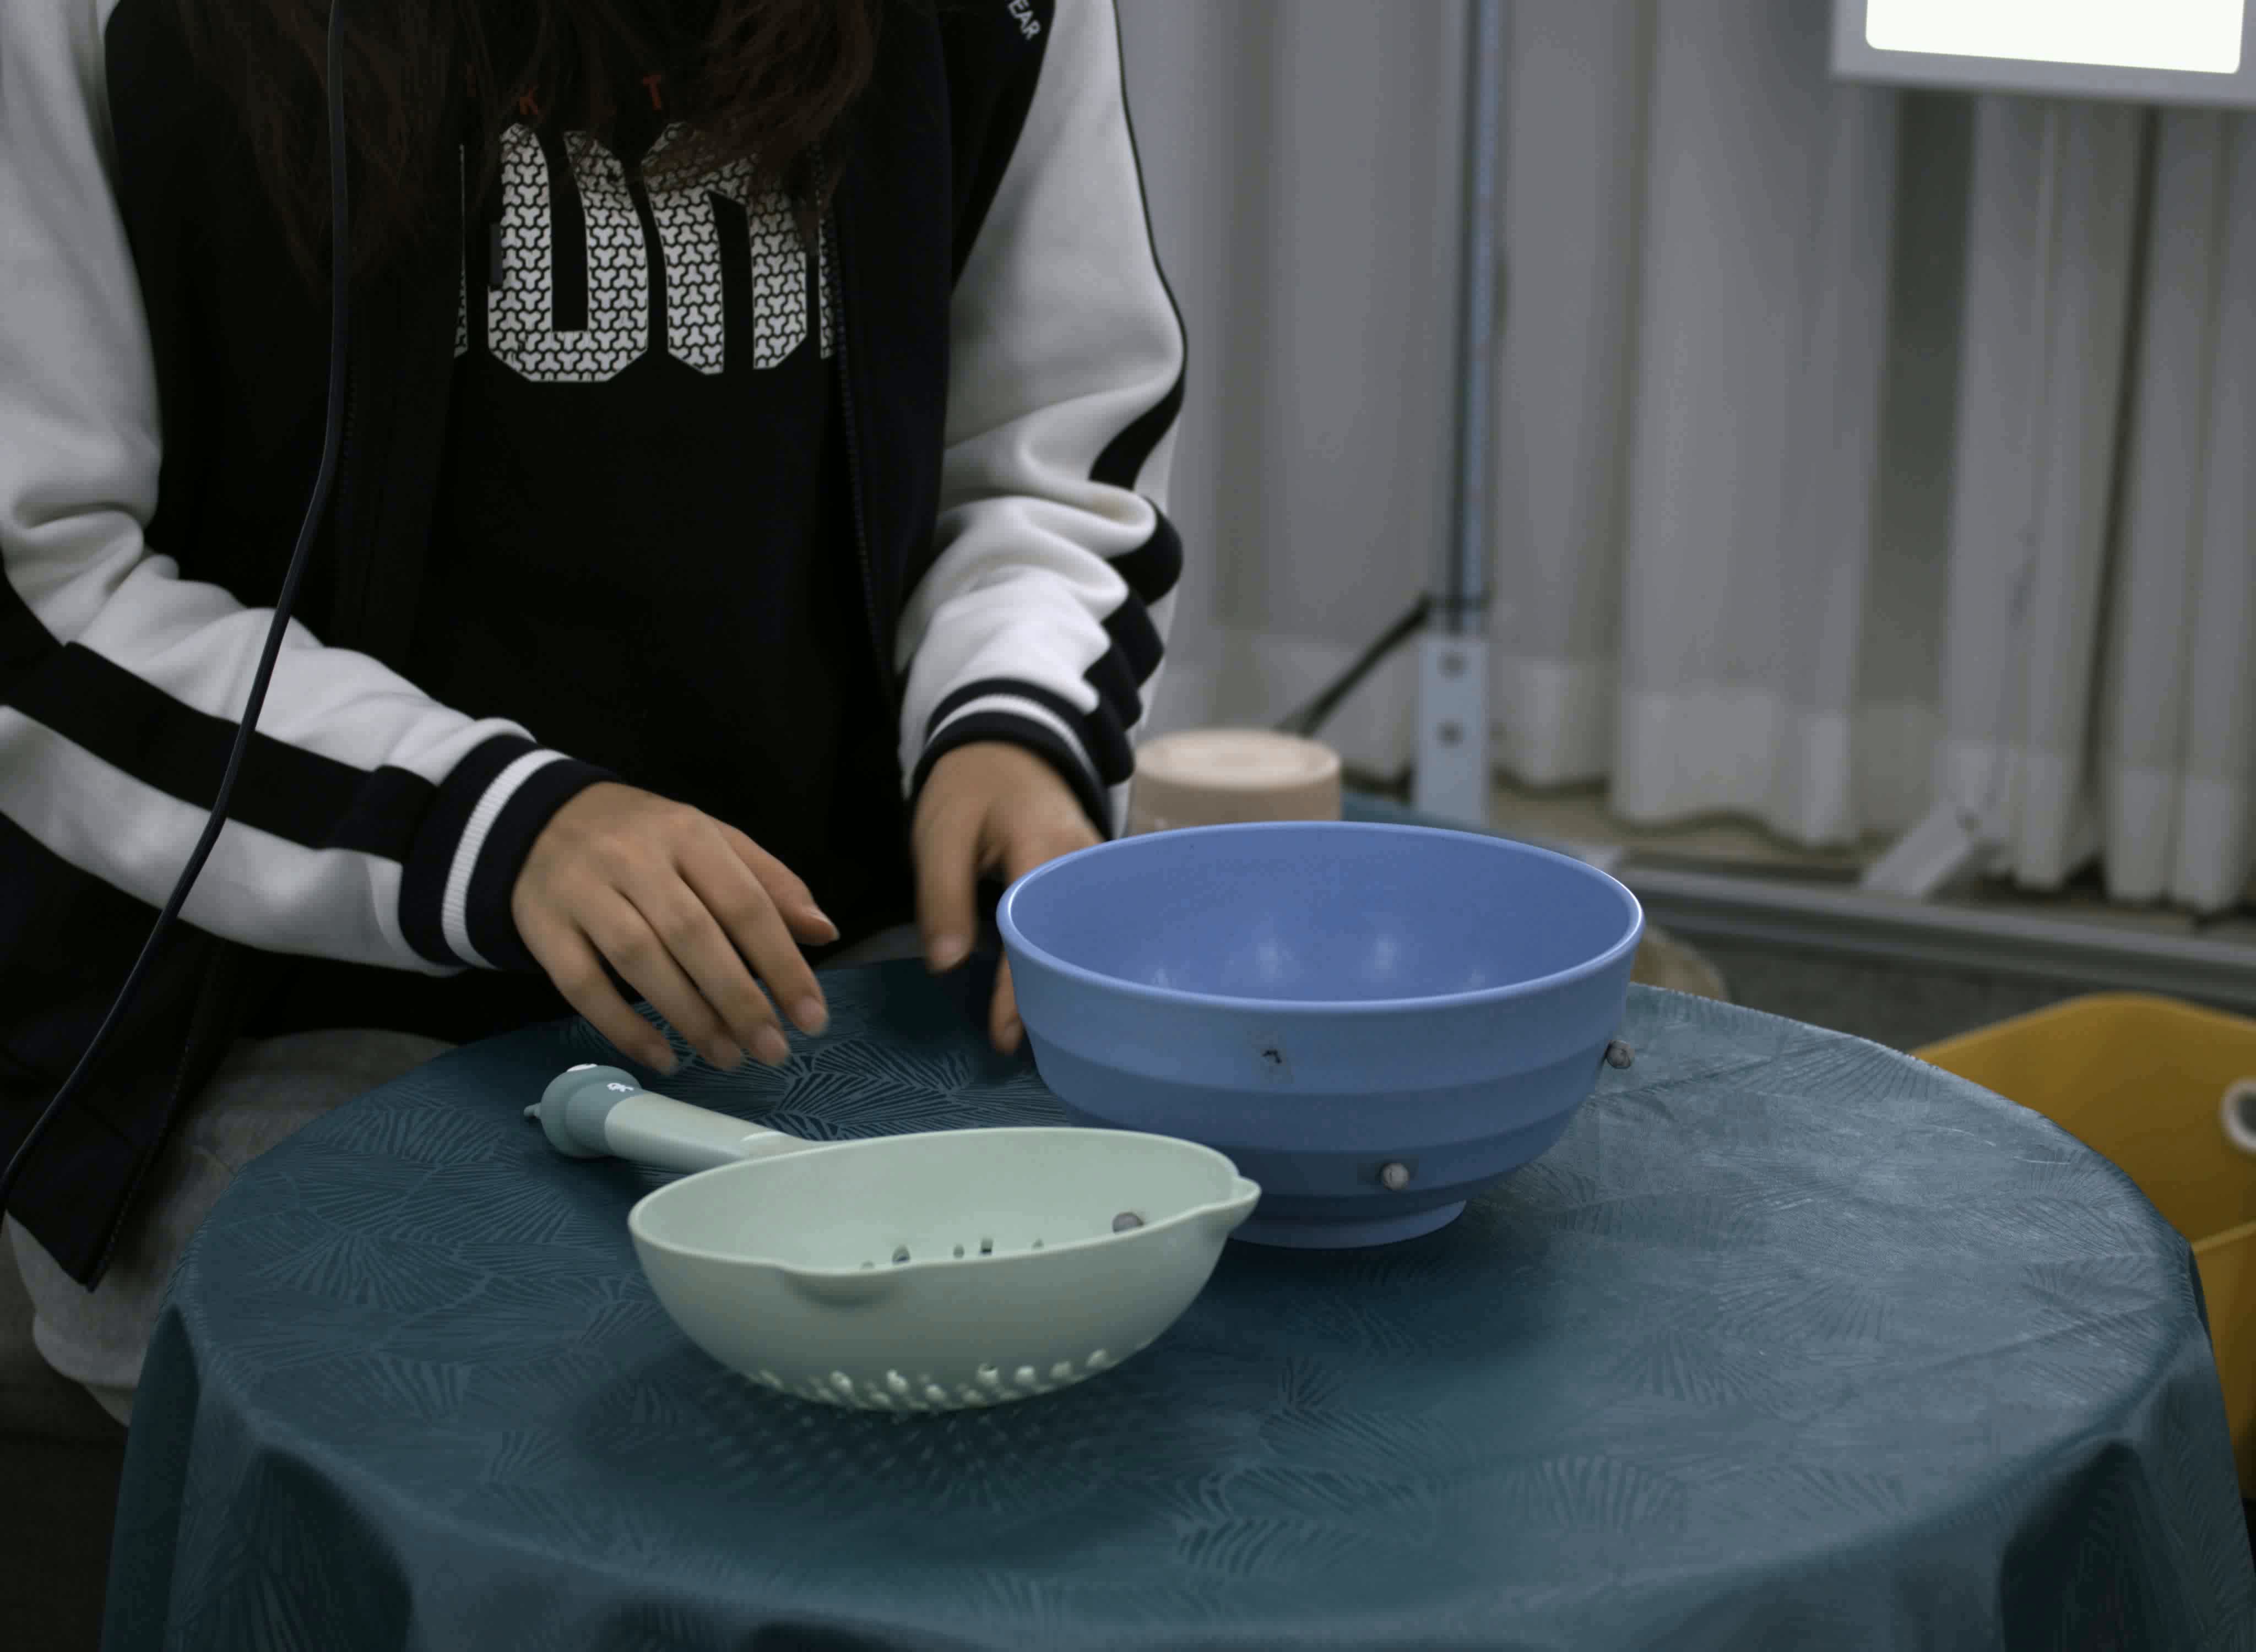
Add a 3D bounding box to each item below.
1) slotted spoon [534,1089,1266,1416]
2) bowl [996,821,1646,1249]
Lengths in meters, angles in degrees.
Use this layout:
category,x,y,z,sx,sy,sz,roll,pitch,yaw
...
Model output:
category,x,y,z,sx,sy,sz,roll,pitch,yaw
slotted spoon,-0.099,0.107,1.530,0.170,0.076,0.354,-7,16,-29
bowl,0.058,0.069,1.601,0.196,0.096,0.195,0,16,0
